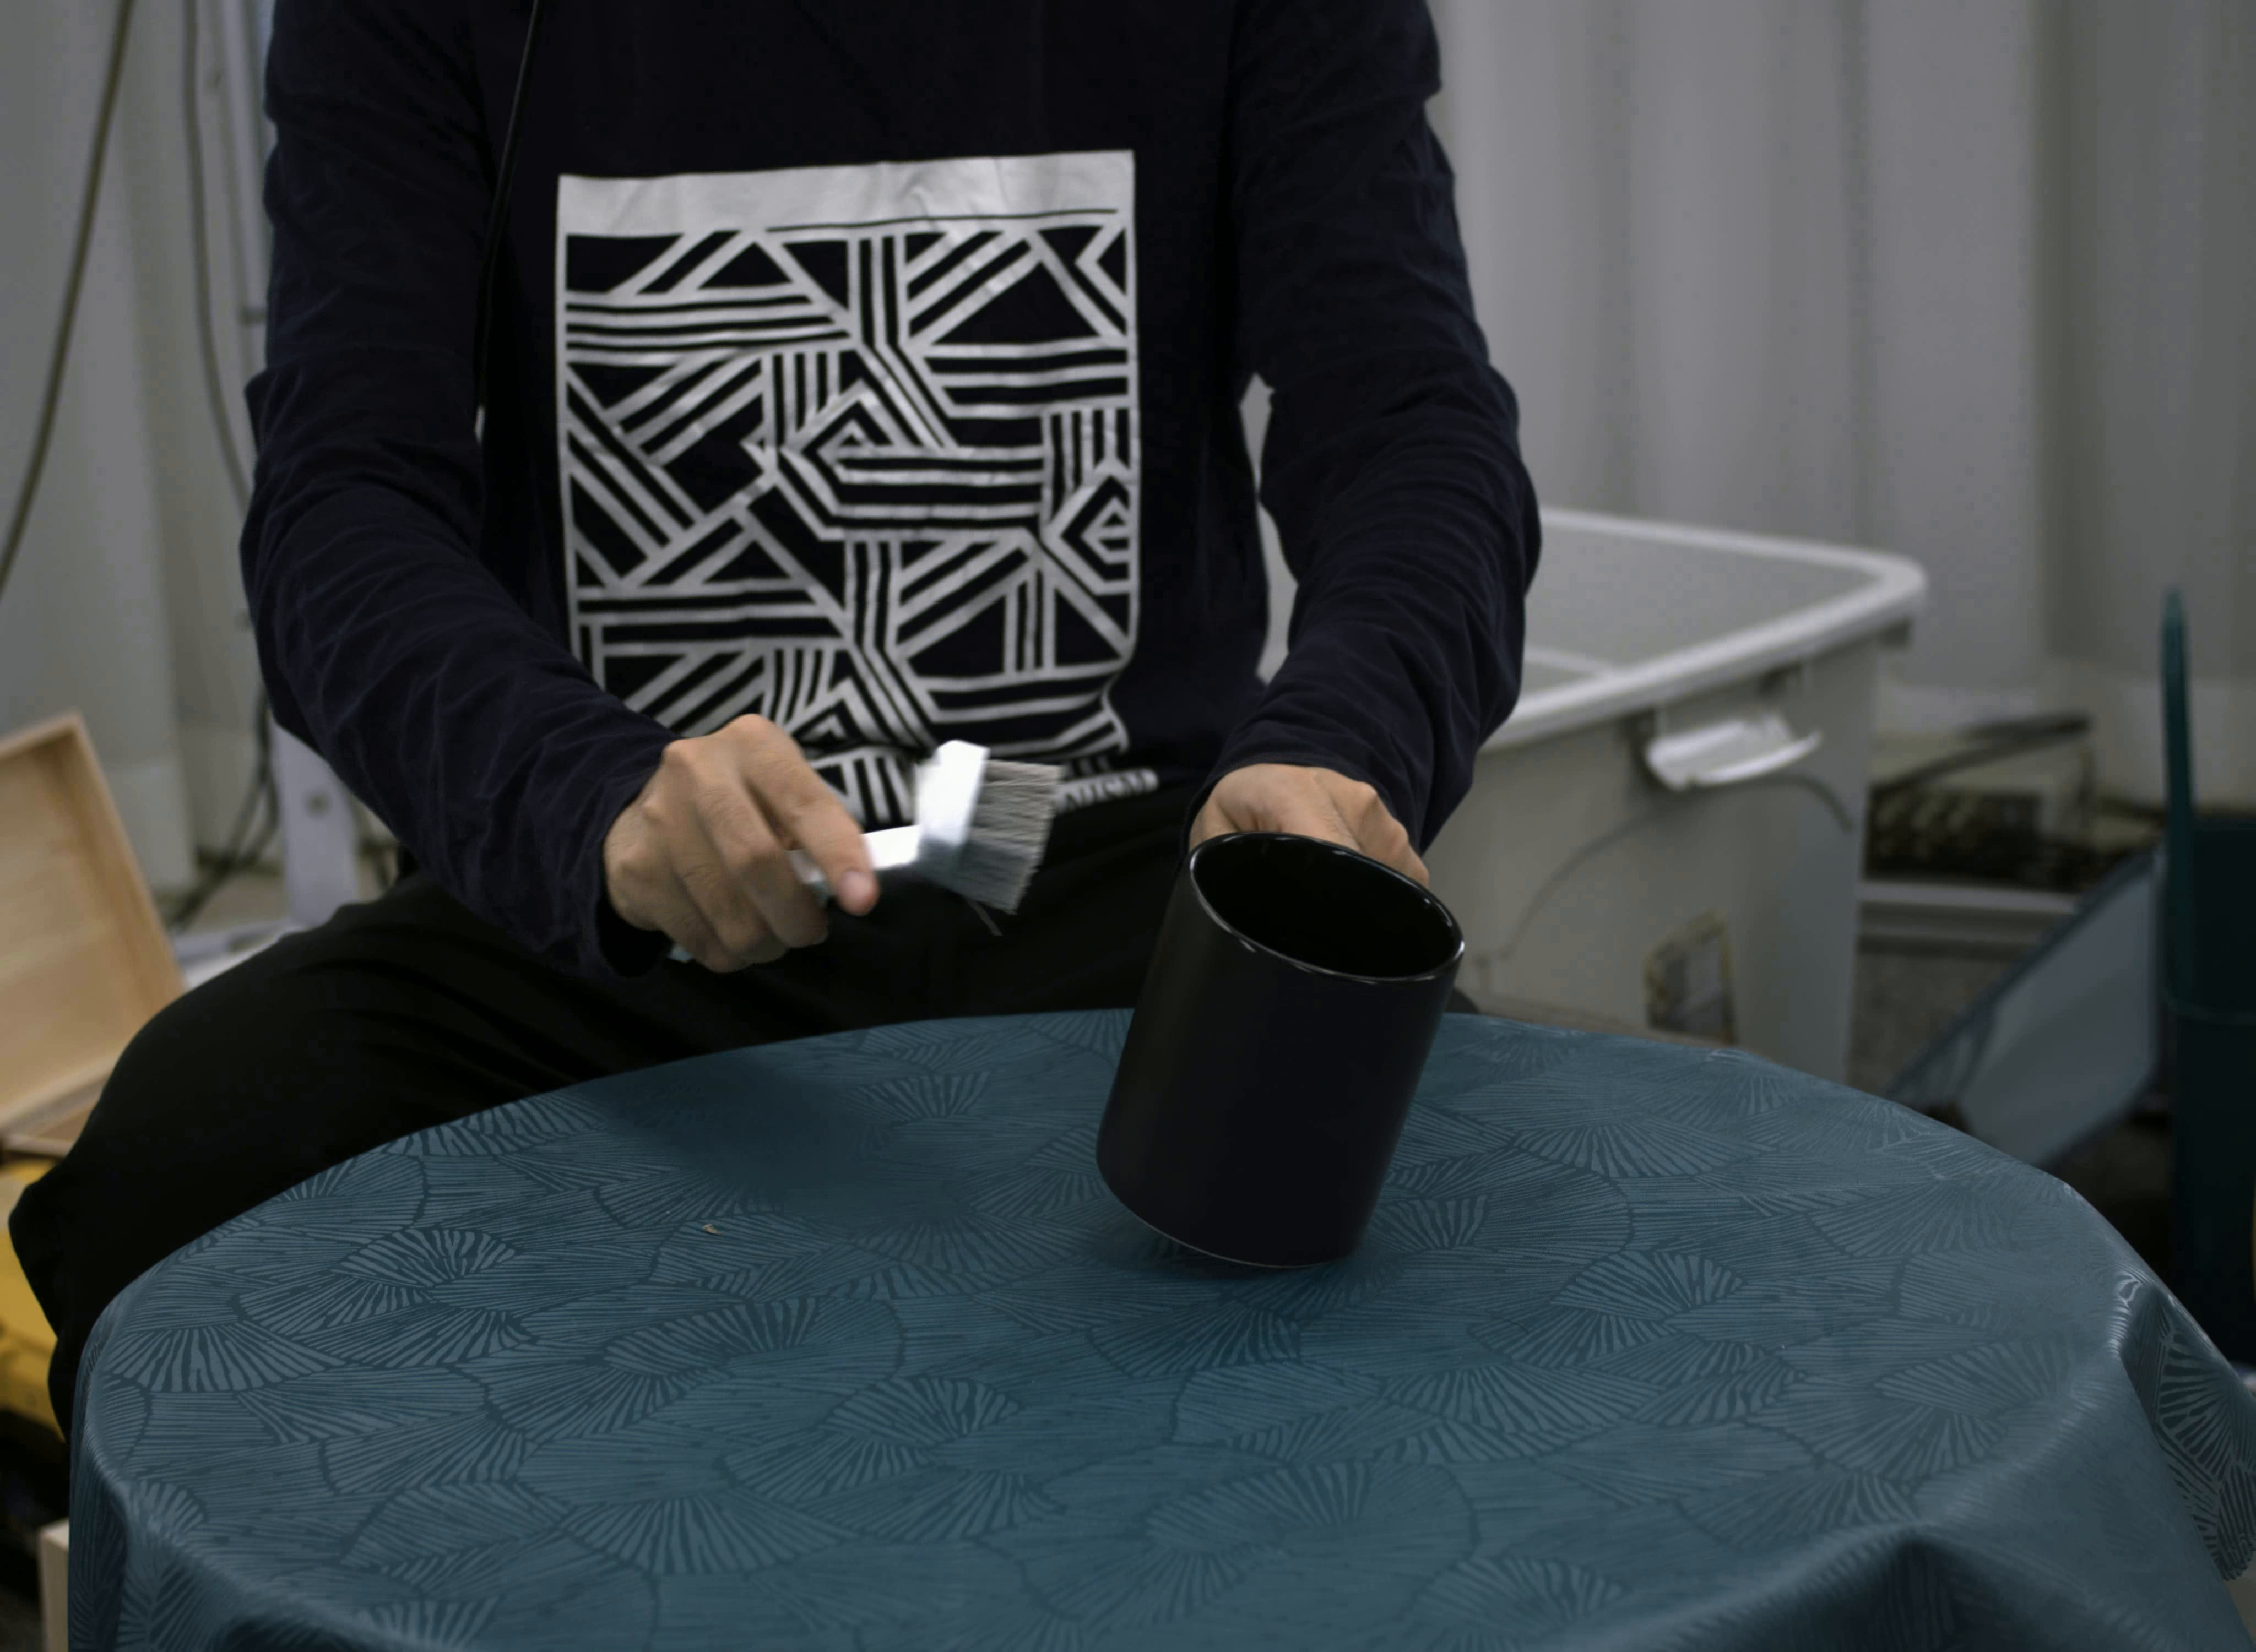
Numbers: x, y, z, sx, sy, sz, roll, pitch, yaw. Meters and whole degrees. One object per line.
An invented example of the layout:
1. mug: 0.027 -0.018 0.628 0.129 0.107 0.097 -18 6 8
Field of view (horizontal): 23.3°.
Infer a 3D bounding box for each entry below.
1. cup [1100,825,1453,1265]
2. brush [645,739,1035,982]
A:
1. cup: 0.044 0.058 1.660 0.088 0.104 0.125 11 24 -6
2. brush: -0.089 0.019 1.723 0.050 0.035 0.243 16 -21 -22
